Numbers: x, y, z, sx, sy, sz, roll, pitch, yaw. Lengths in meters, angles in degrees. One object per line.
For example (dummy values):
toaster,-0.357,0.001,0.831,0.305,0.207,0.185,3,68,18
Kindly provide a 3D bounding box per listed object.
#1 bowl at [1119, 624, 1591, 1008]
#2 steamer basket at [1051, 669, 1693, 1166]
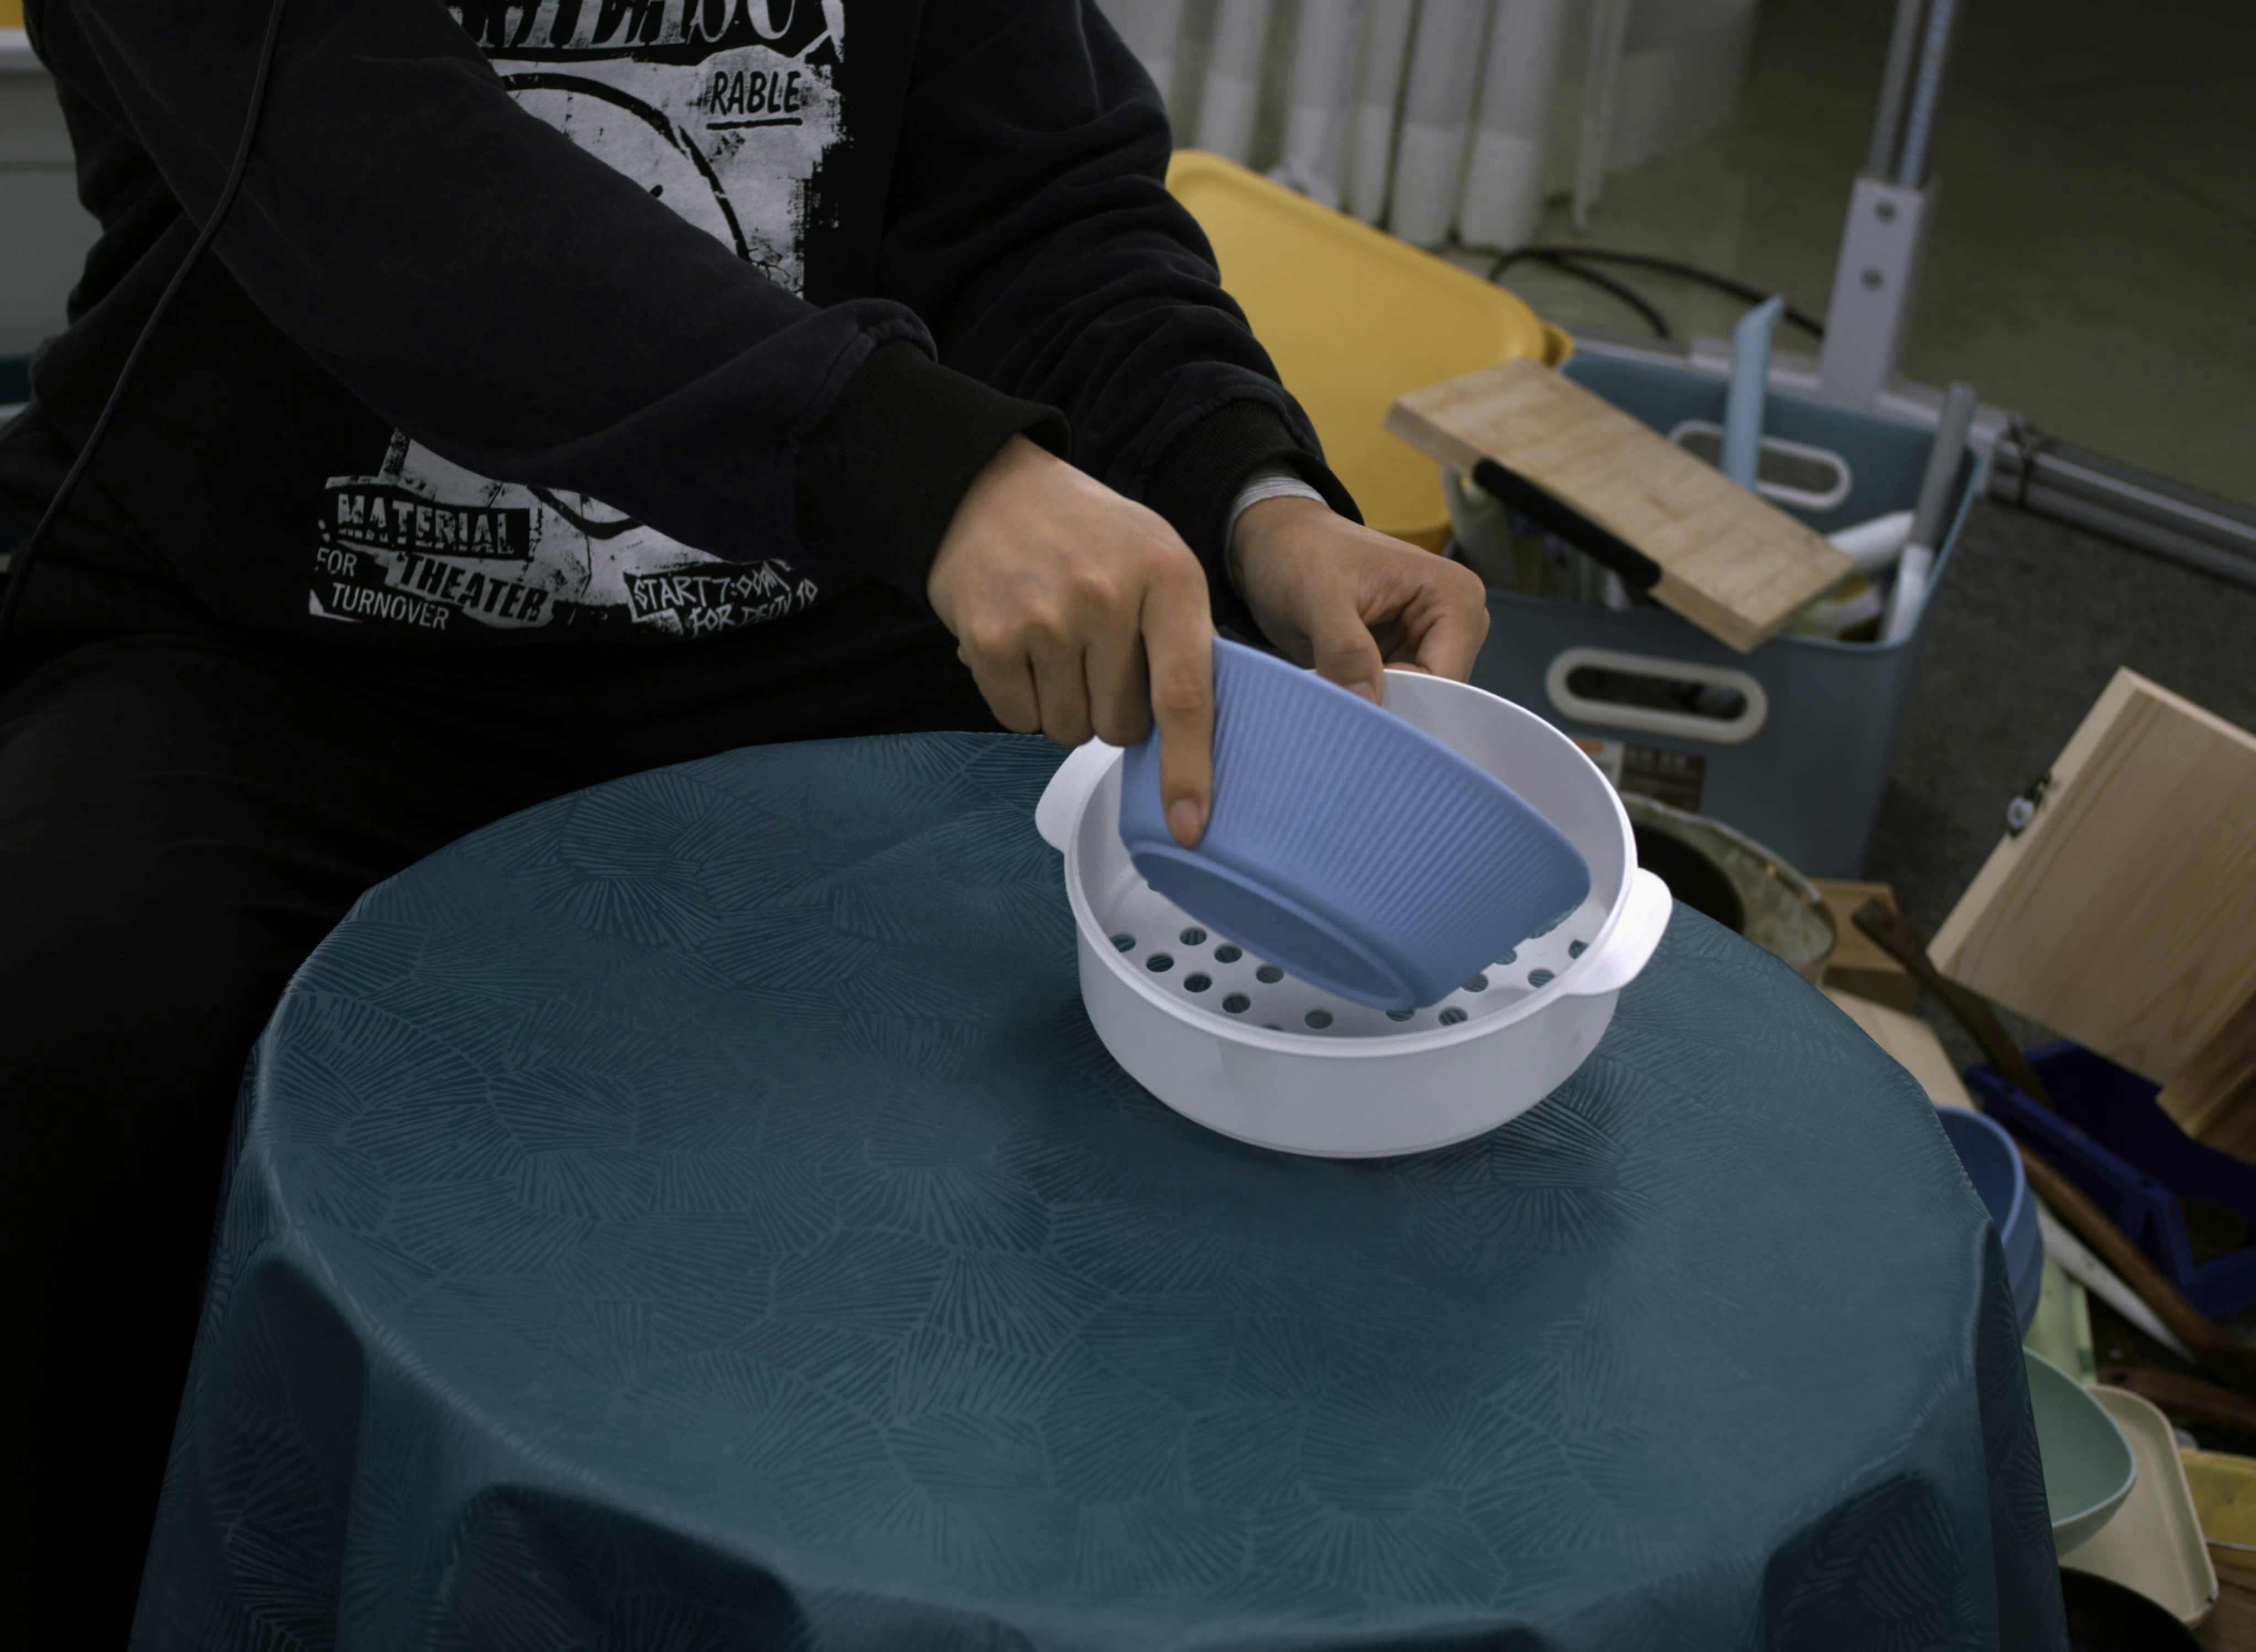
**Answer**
bowl,0.063,0.005,1.791,0.176,0.070,0.175,28,-13,7
steamer basket,0.084,0.033,1.879,0.231,0.069,0.202,17,45,18
